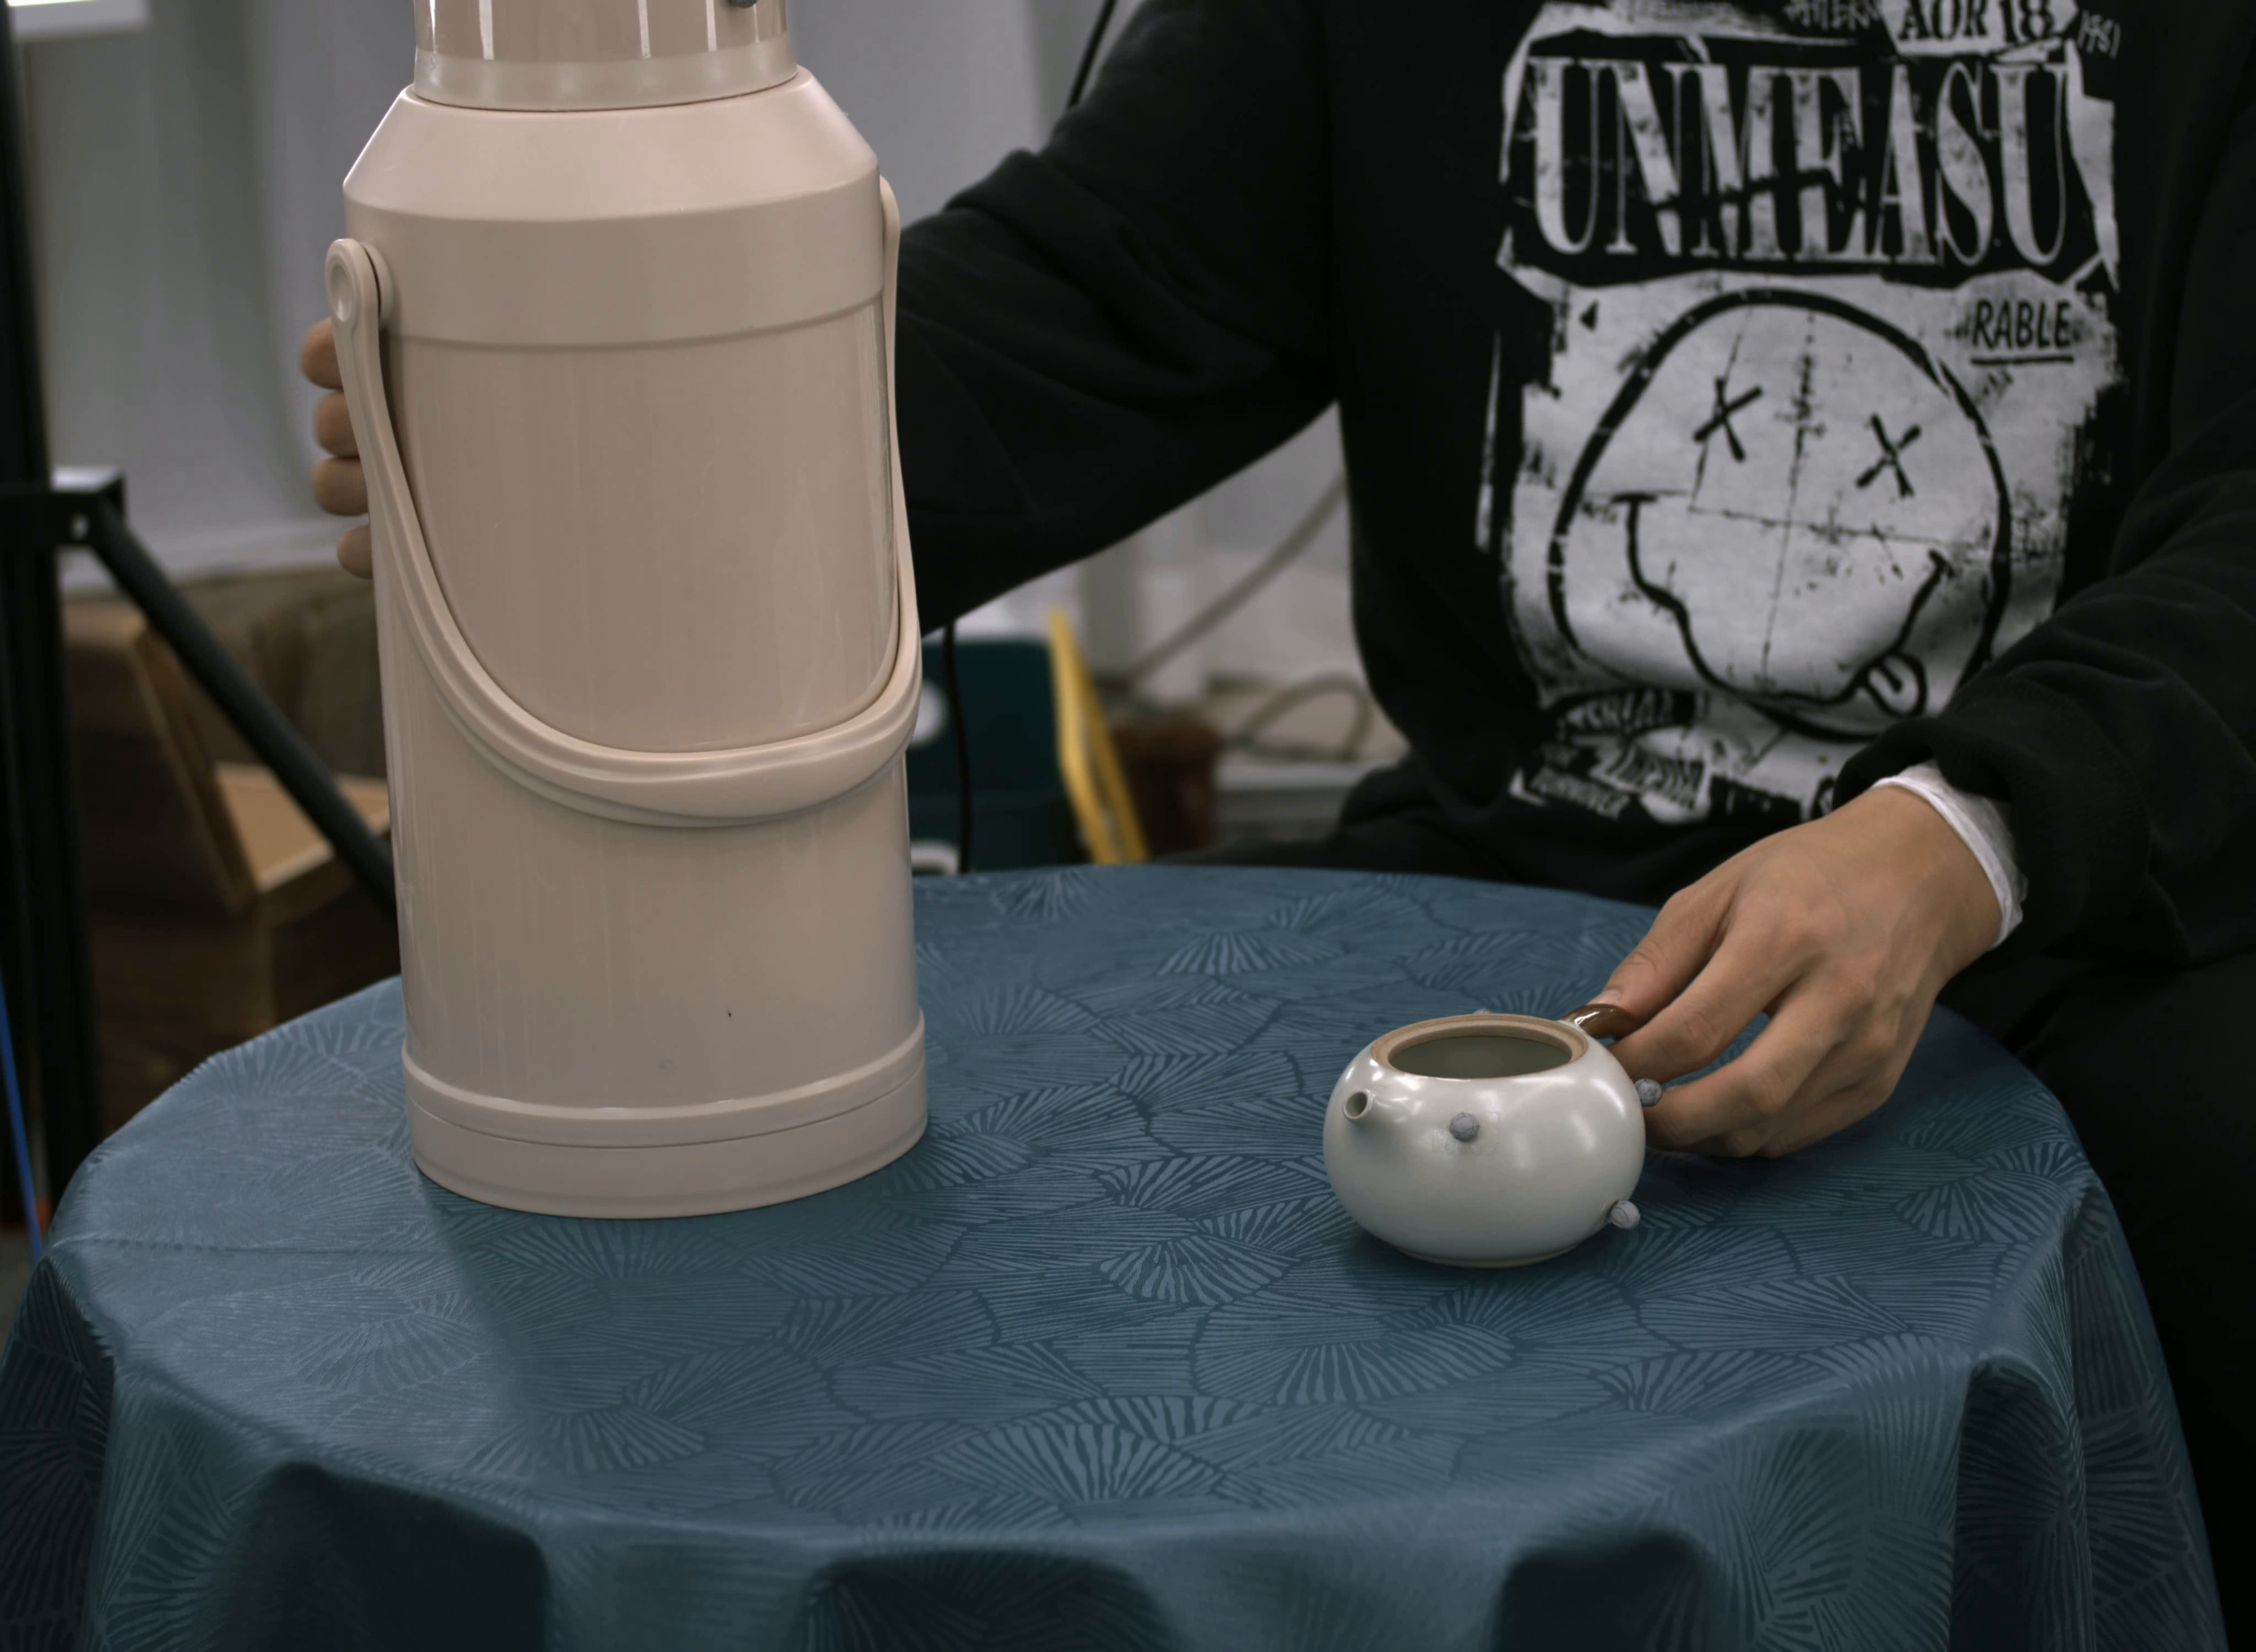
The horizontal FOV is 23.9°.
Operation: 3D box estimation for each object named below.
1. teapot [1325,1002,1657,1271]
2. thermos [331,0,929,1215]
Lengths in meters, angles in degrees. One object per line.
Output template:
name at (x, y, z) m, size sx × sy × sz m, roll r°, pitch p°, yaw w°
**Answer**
teapot at (0.108, 0.087, 1.502) m, size 0.094 × 0.059 × 0.125 m, roll 8°, pitch 19°, yaw 44°
thermos at (-0.152, -0.101, 1.594) m, size 0.171 × 0.406 × 0.211 m, roll -12°, pitch 19°, yaw -29°
